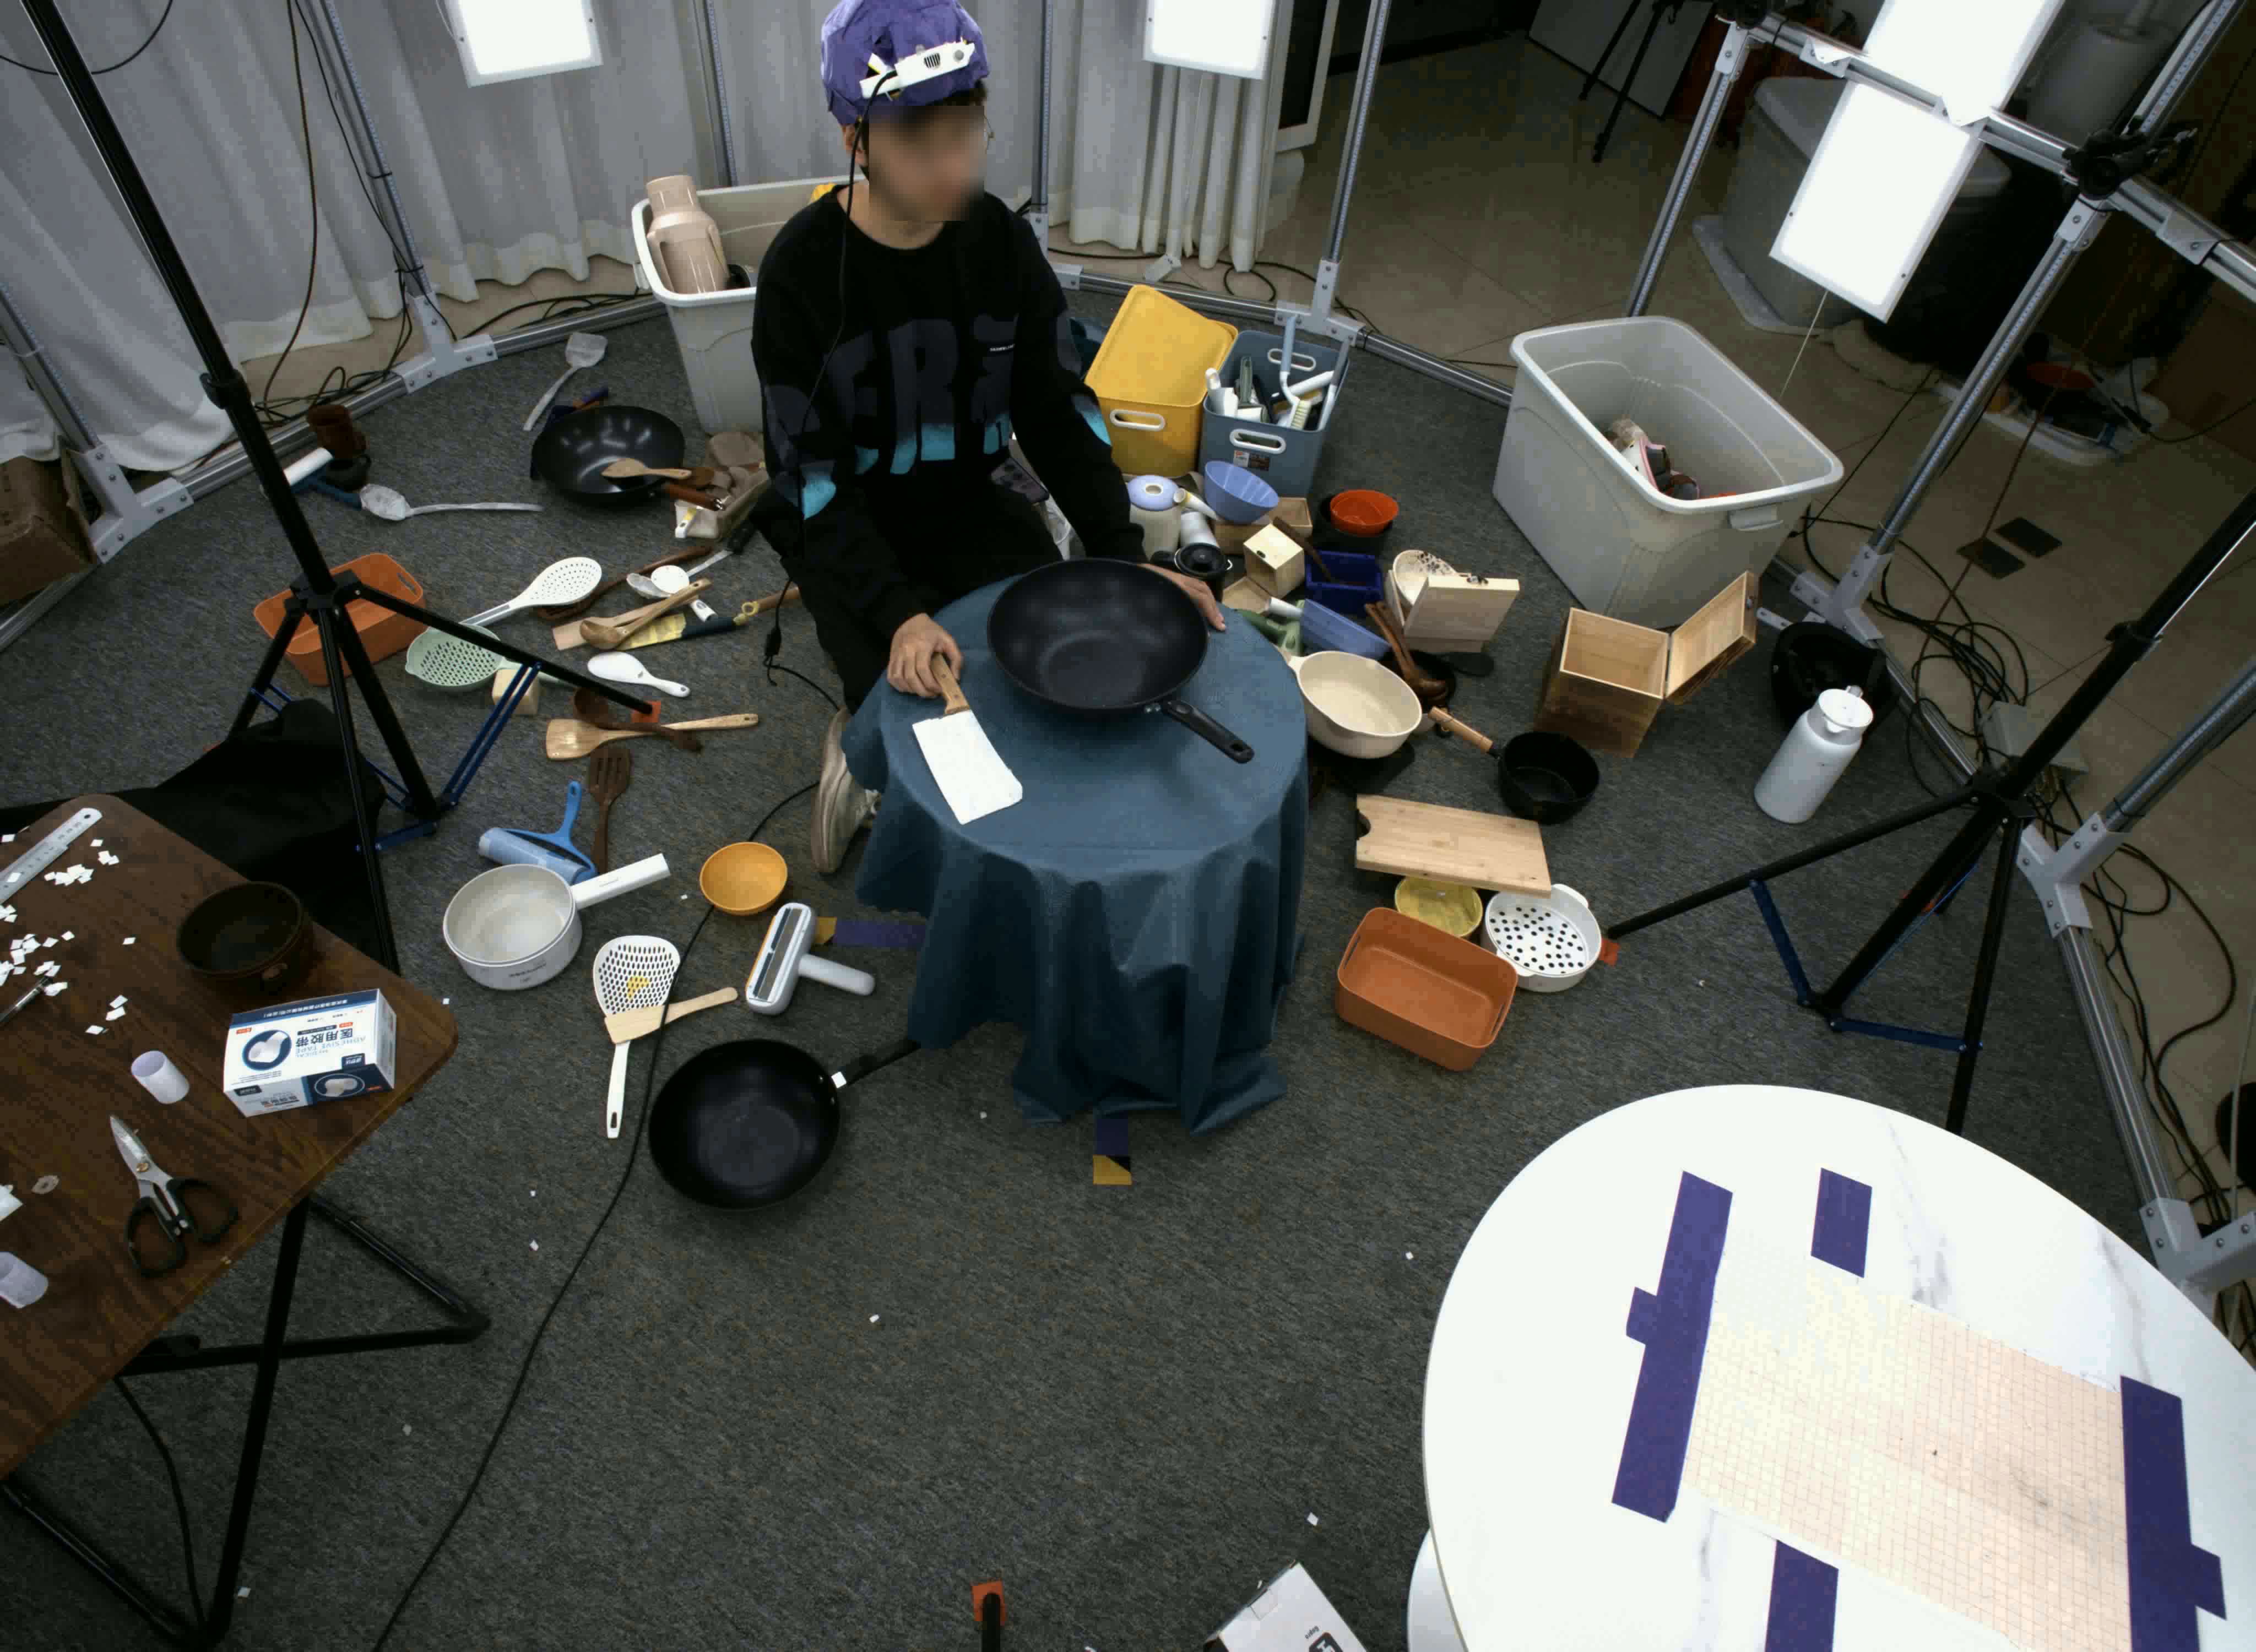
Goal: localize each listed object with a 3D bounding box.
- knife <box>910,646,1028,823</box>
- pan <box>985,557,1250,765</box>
[{"bbox_3d":[-0.231,-0.132,1.756,0.114,0.021,0.322,-15,54,-16],"label":"knife"},{"bbox_3d":[0.005,-0.205,1.779,0.312,0.109,0.486,-29,57,-24],"label":"pan"}]
